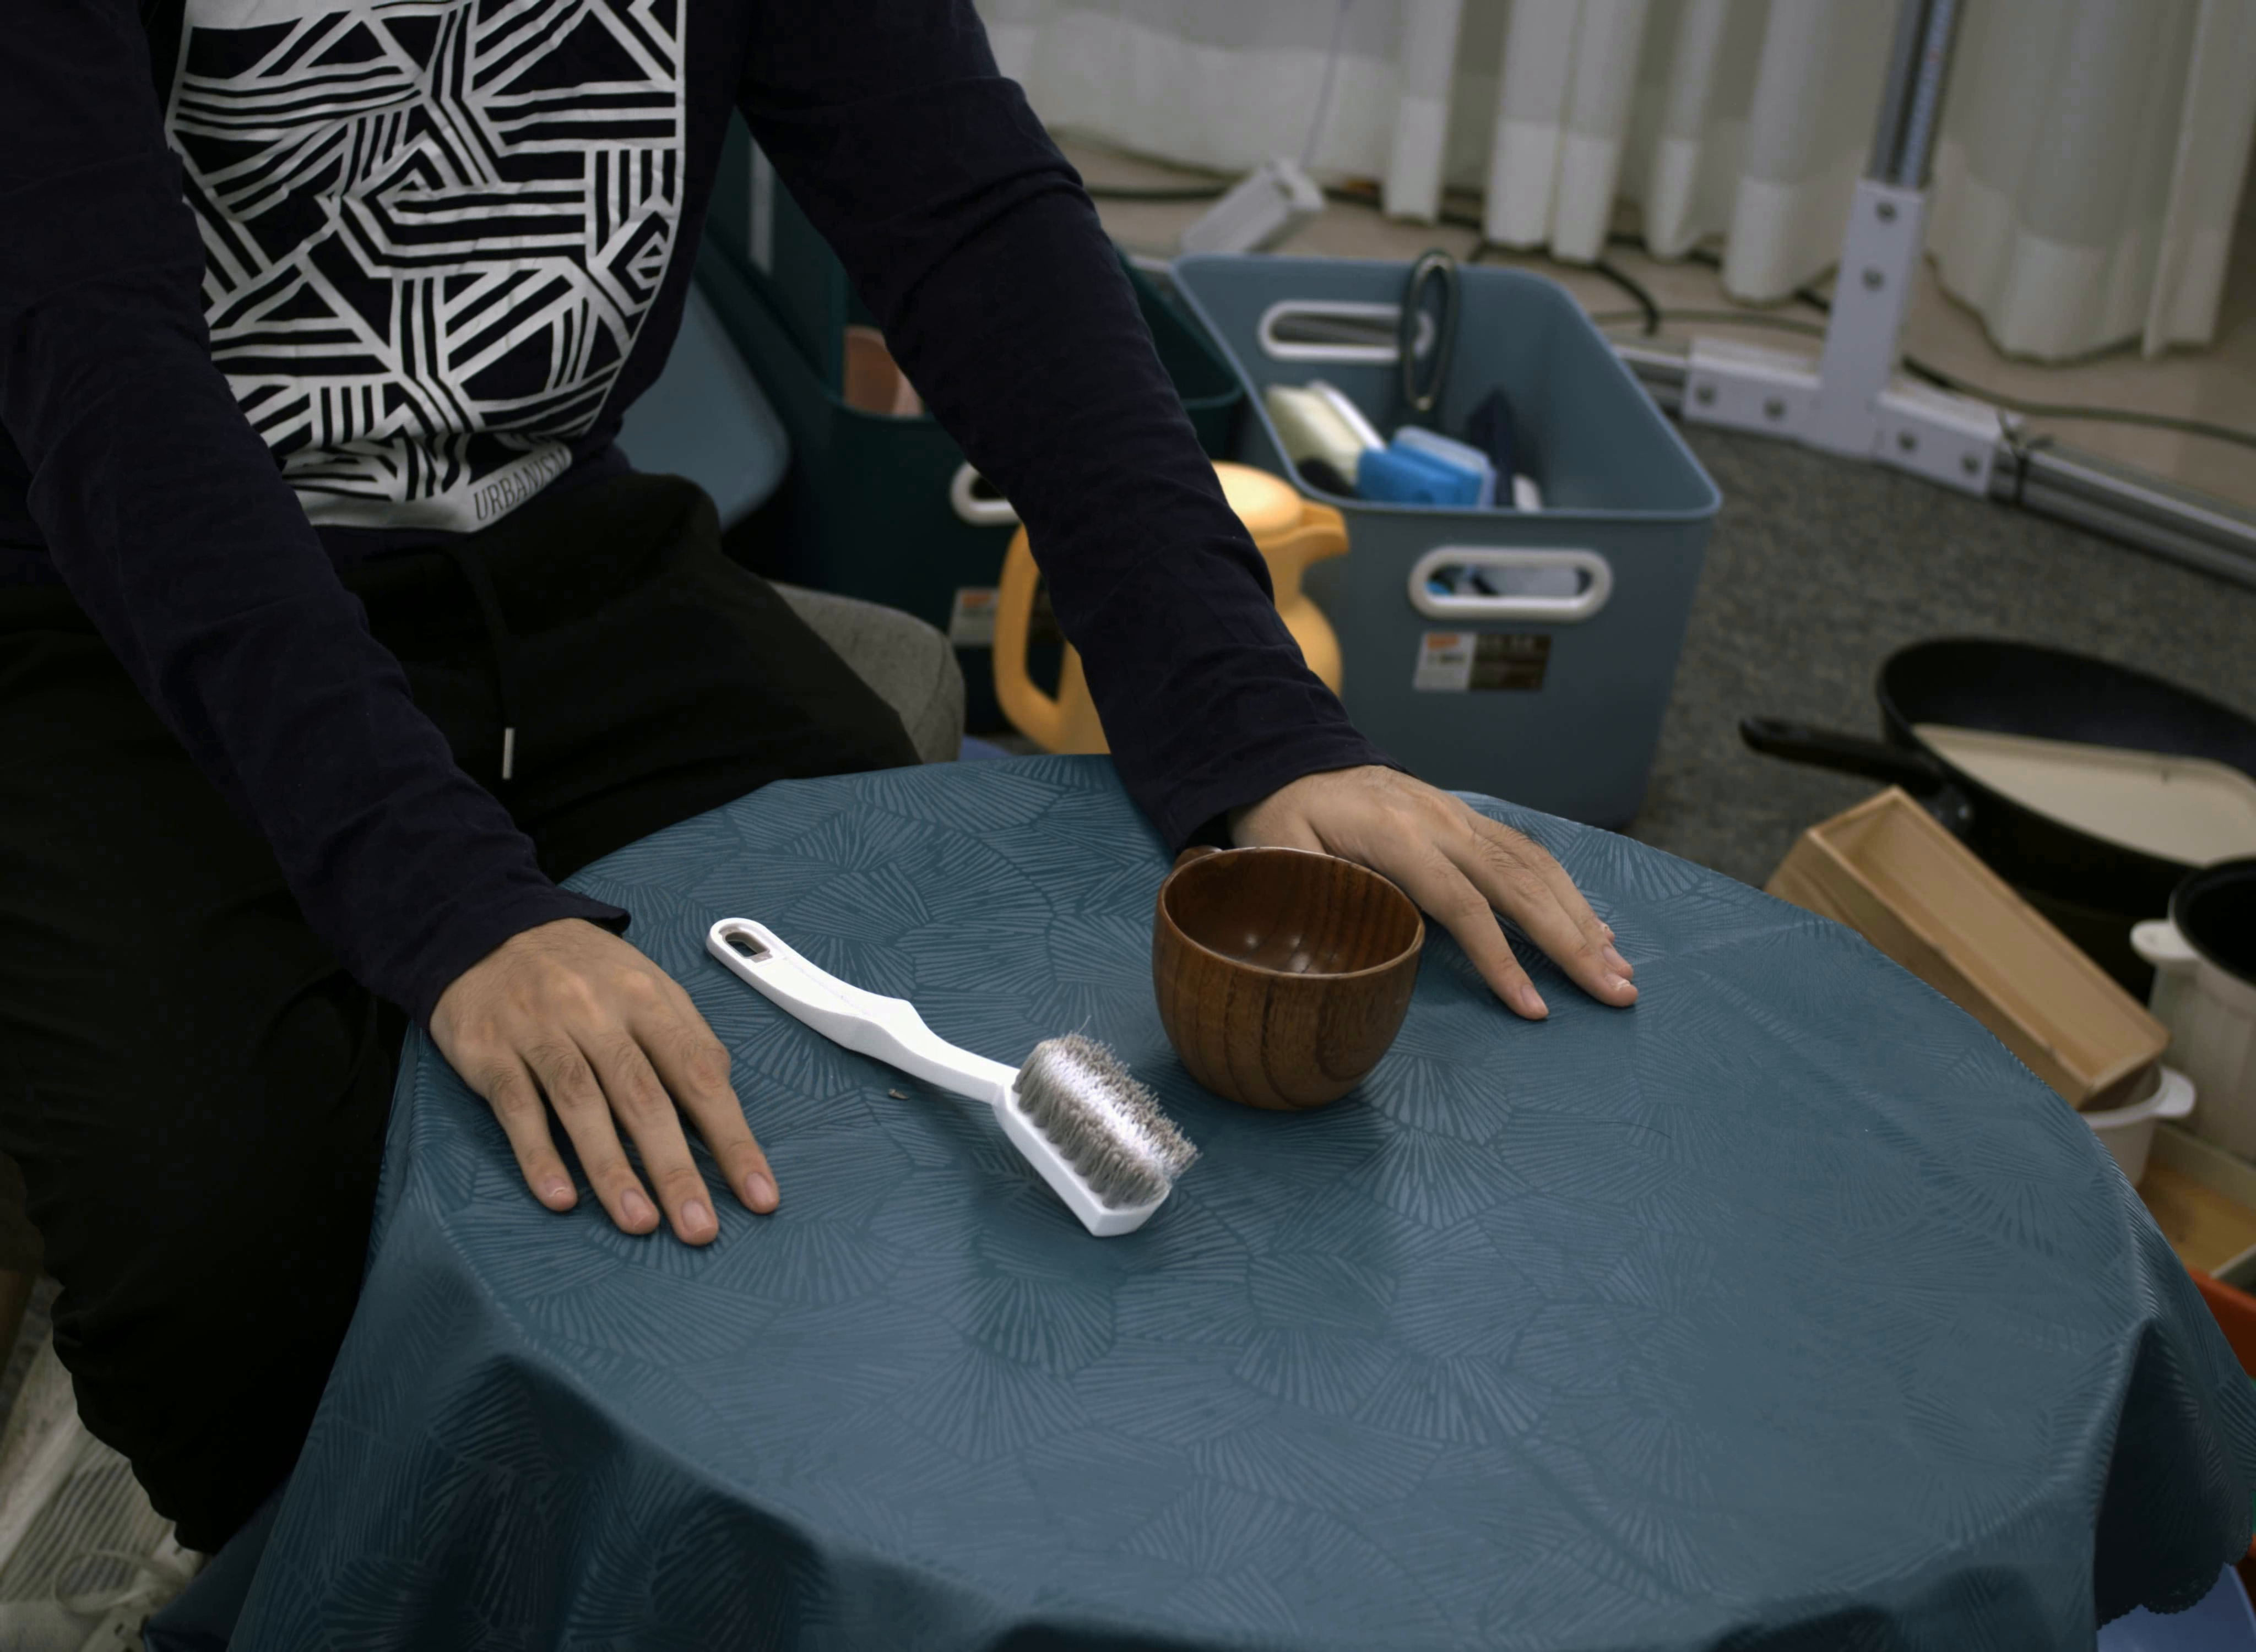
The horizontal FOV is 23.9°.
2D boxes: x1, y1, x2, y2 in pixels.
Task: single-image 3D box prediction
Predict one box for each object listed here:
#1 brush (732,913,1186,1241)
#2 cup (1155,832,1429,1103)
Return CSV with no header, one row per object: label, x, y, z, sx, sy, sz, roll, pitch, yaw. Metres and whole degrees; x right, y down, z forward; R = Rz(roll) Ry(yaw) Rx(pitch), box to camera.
brush,-0.064,0.070,1.846,0.034,0.050,0.246,-19,36,-32
cup,0.049,0.048,1.887,0.095,0.067,0.120,-12,35,-29
